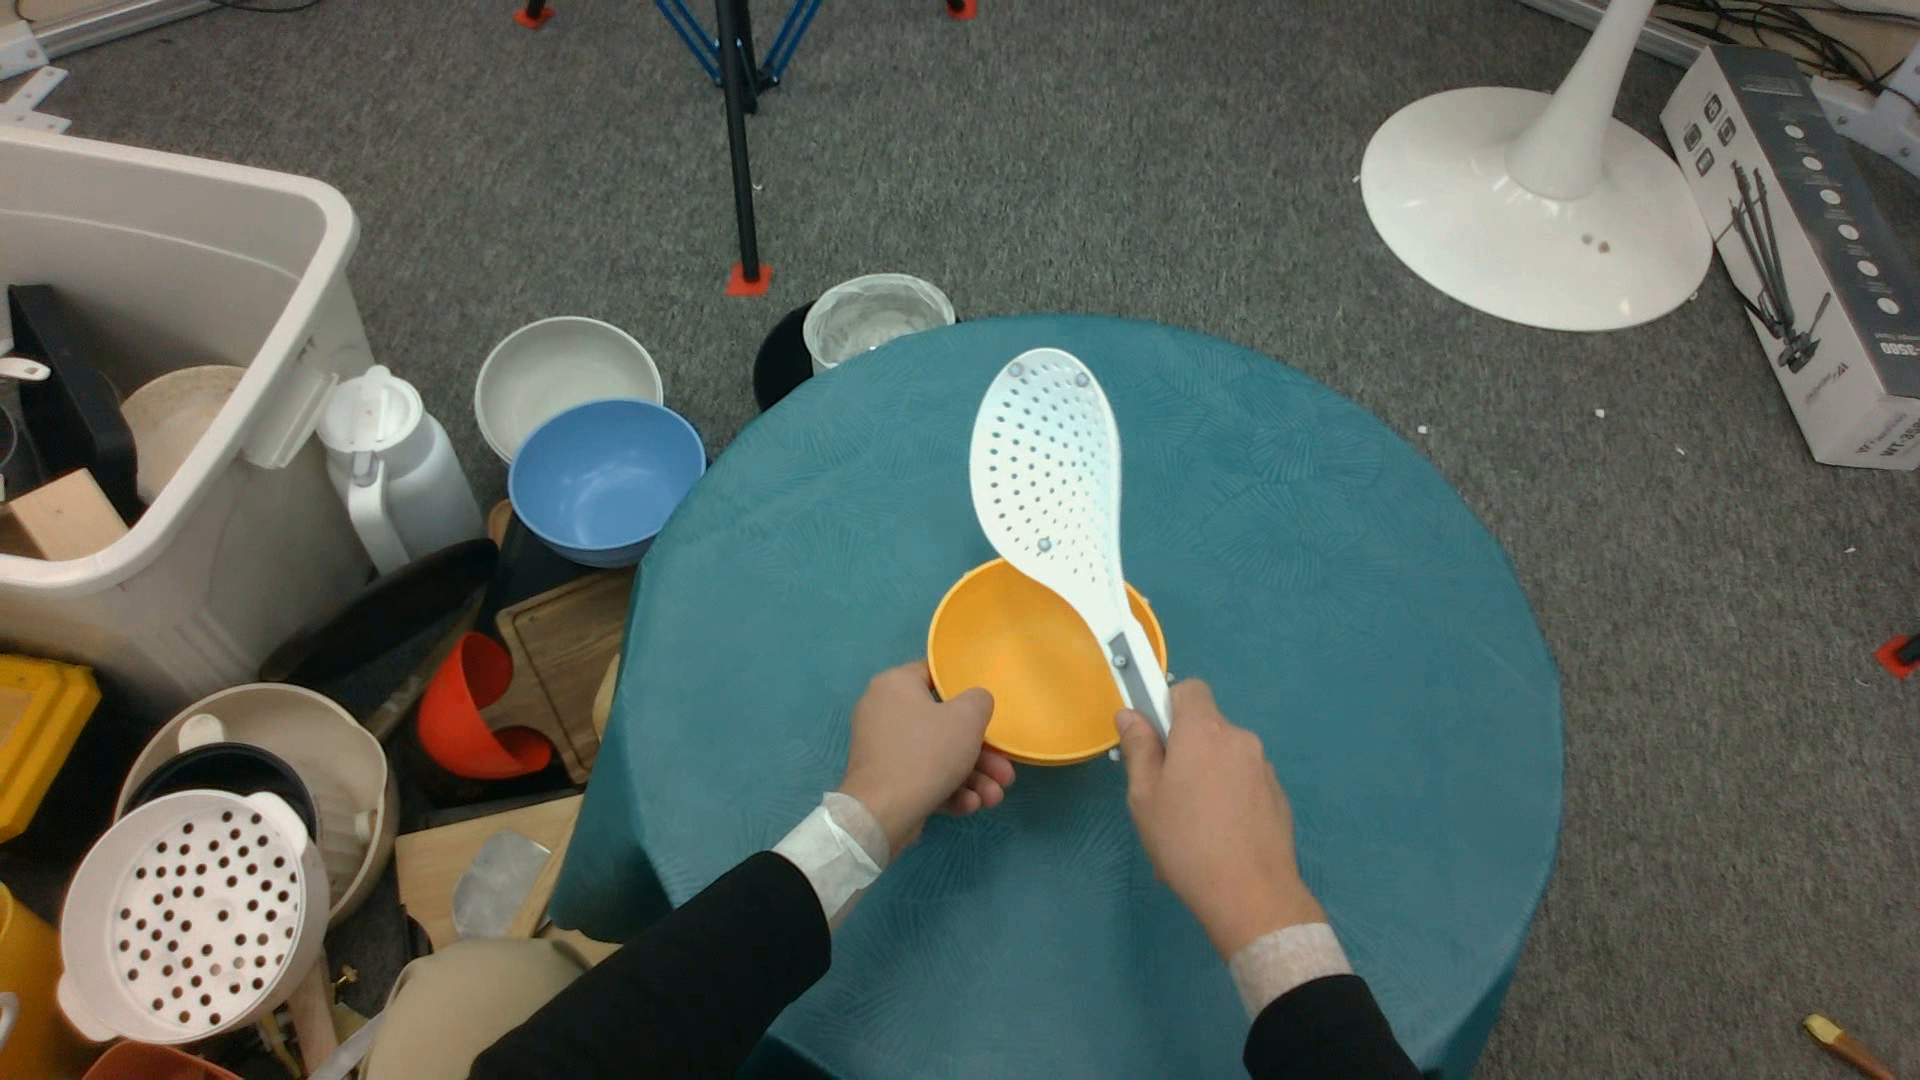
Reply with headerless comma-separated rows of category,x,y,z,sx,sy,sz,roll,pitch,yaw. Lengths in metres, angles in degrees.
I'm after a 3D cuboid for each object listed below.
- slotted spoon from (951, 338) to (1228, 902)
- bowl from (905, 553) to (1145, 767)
slotted spoon,0.074,0.037,0.788,0.046,0.135,0.351,5,53,-33
bowl,0.039,0.082,0.847,0.145,0.060,0.146,1,56,-1
